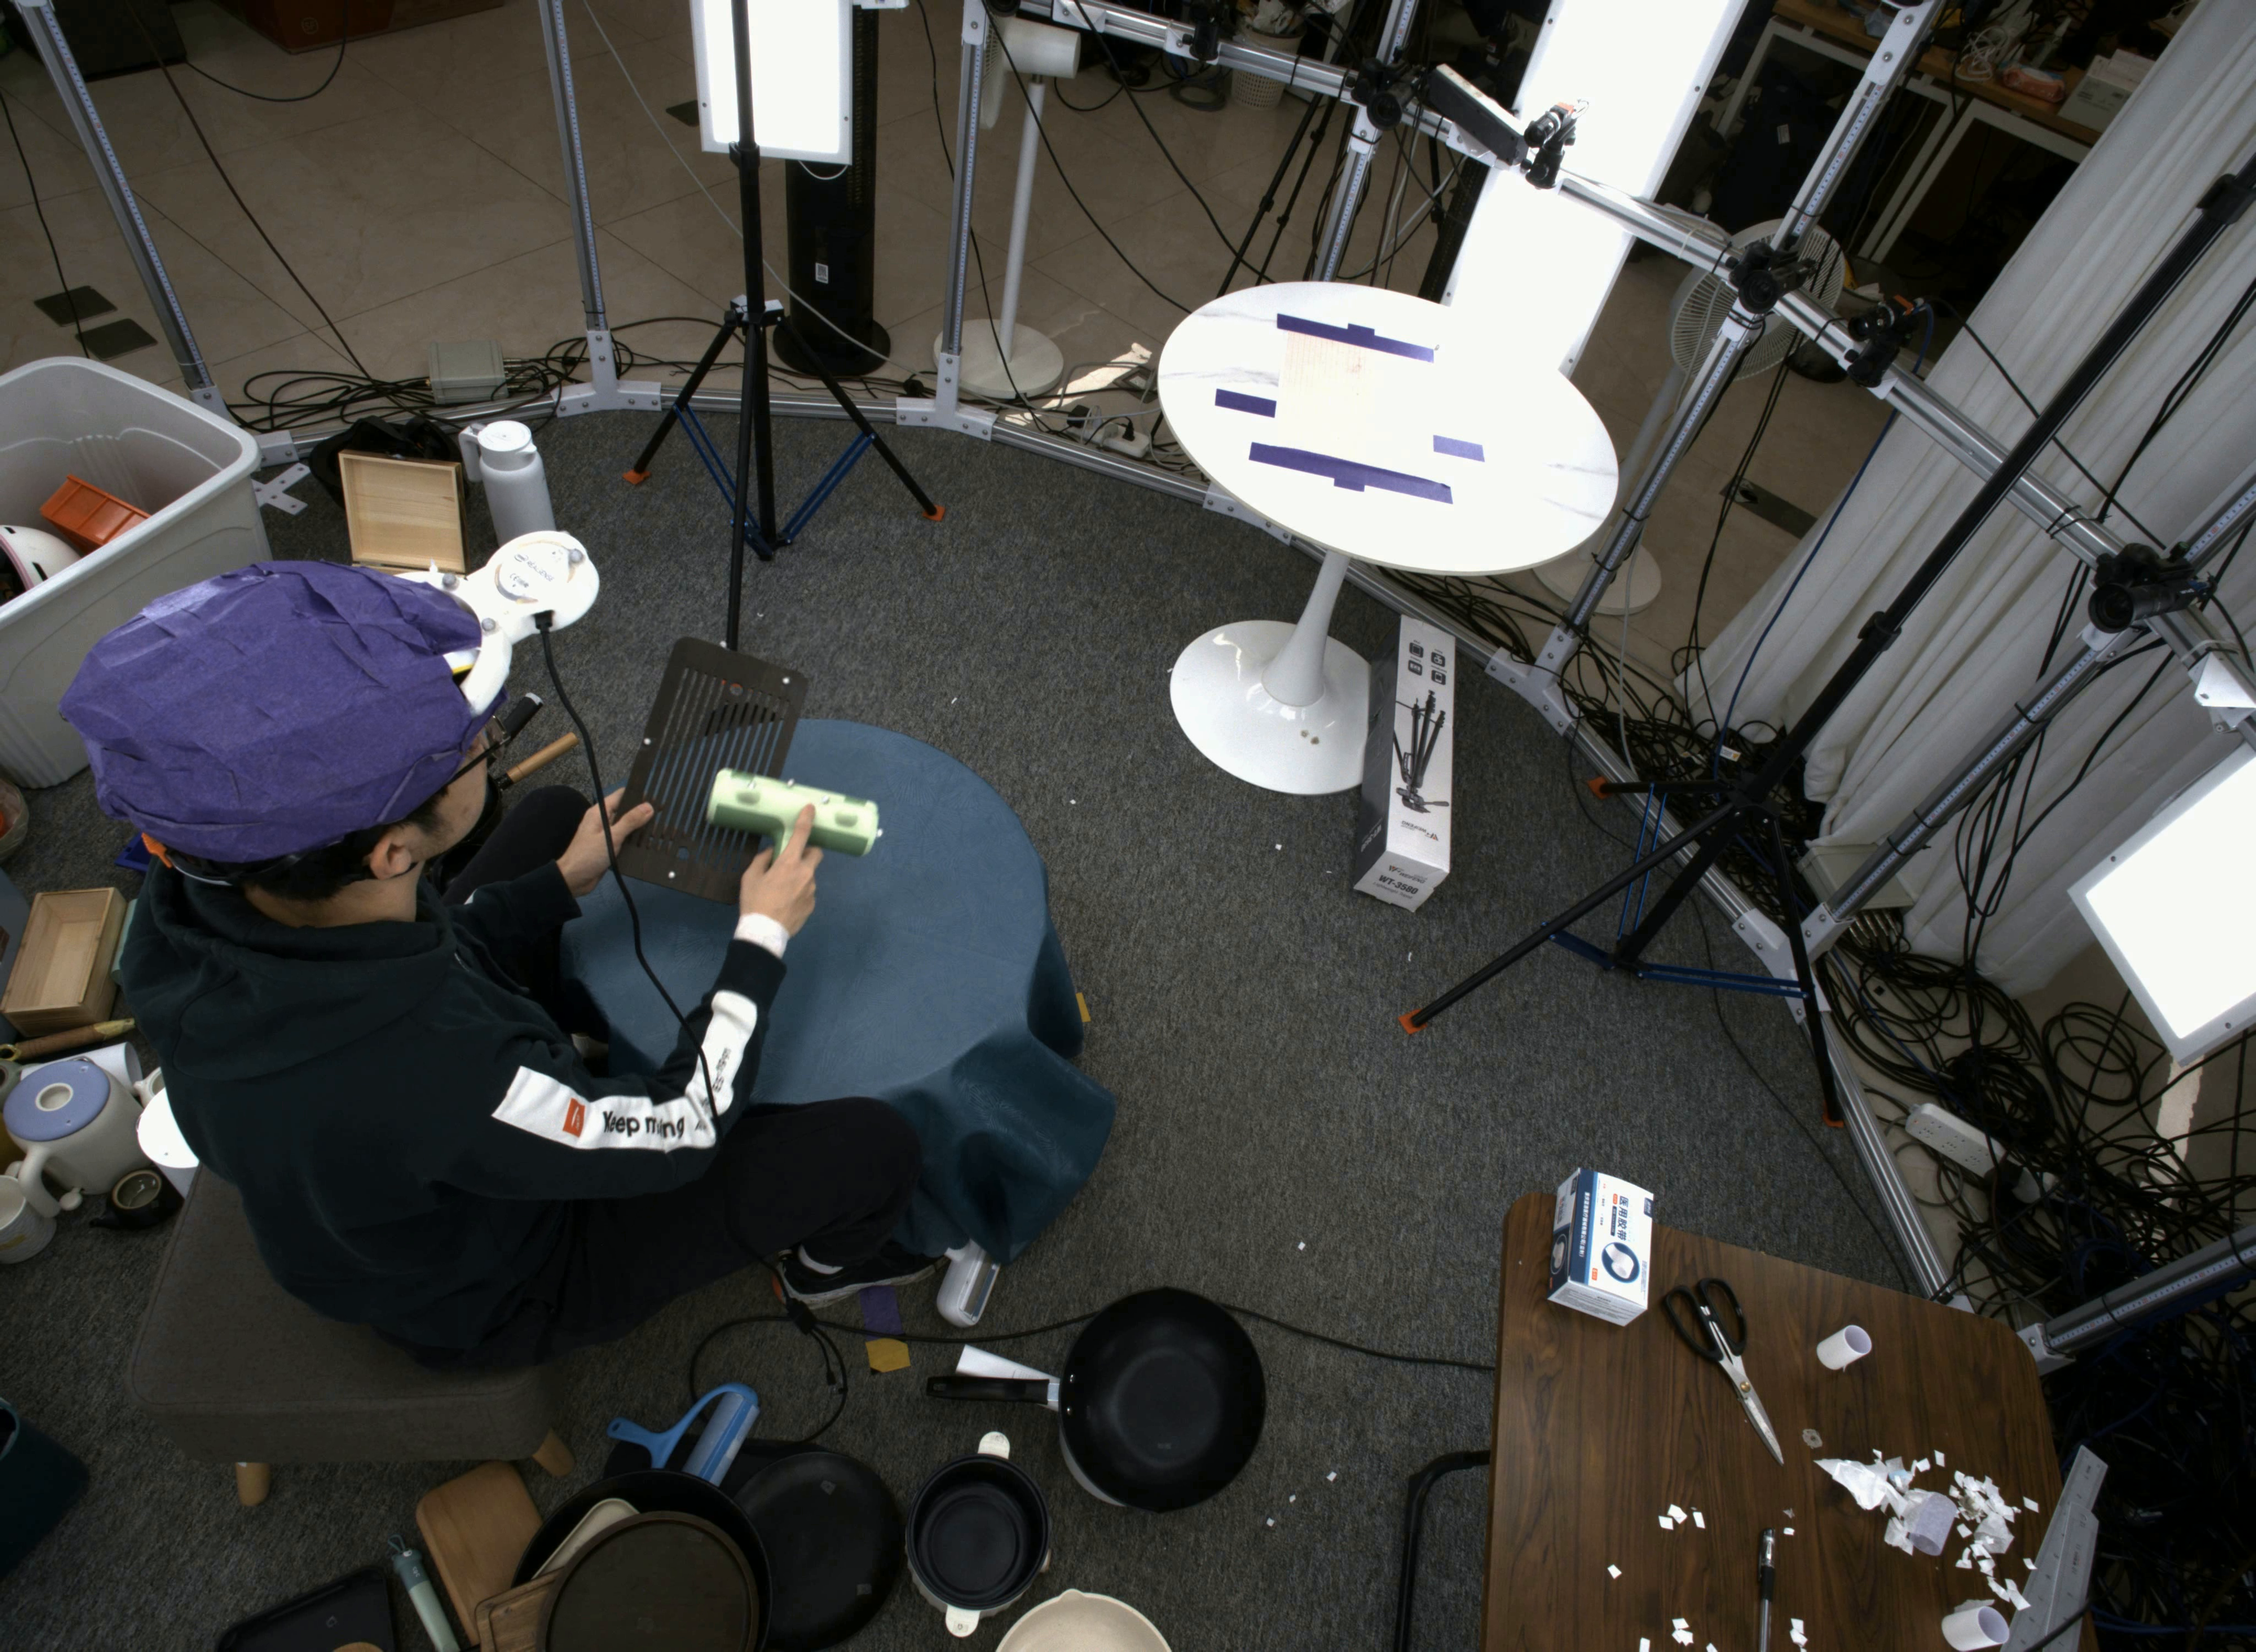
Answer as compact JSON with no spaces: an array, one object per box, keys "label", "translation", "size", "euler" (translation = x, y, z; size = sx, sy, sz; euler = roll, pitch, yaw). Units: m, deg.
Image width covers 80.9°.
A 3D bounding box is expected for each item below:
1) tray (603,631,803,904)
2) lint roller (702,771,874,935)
[{"label":"tray","translation":[-0.518,-0.073,1.573],"size":[0.172,0.018,0.306],"euler":[17,77,-19]},{"label":"lint roller","translation":[-0.400,0.030,1.506],"size":[0.201,0.082,0.180],"euler":[14,52,-22]}]
